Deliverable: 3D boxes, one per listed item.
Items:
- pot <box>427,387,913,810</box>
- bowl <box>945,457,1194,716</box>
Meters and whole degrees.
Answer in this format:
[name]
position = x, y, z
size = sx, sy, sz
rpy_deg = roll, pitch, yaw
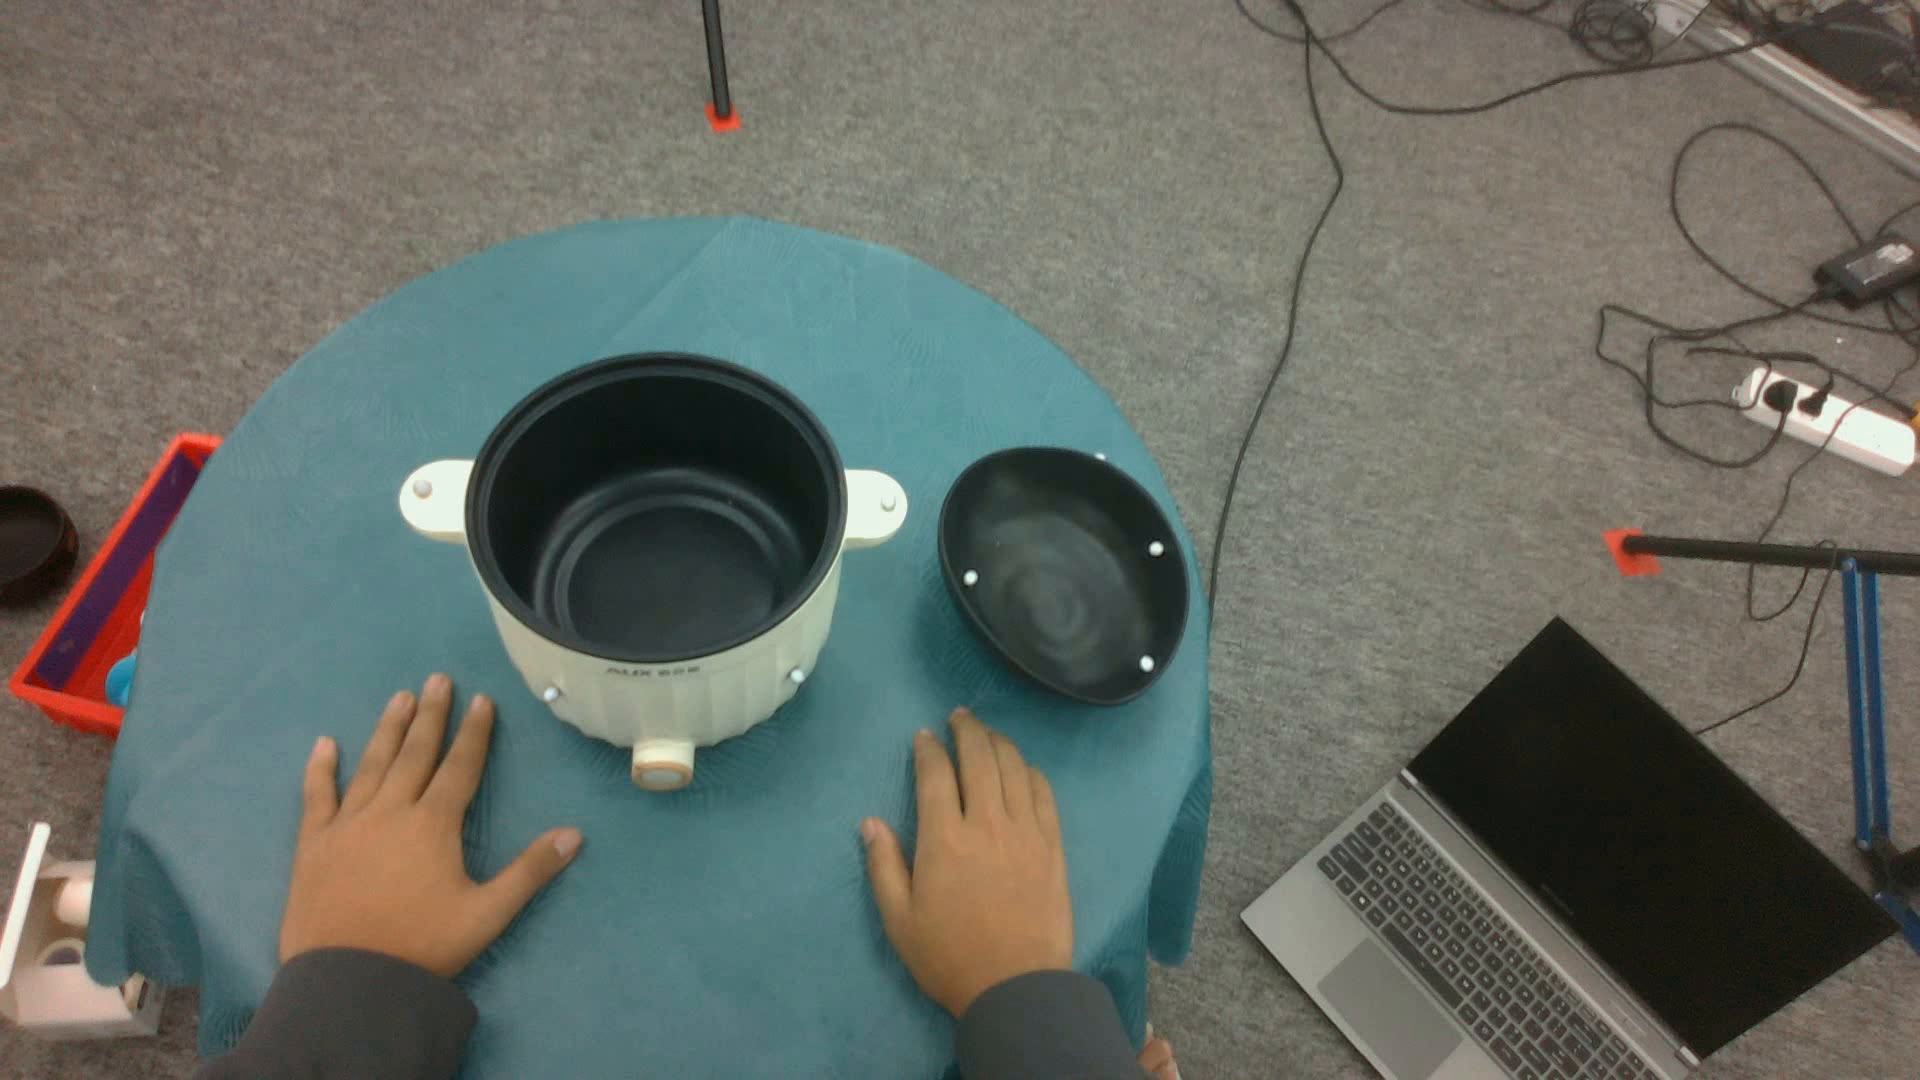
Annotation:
[pot]
position = -0.146, 0.034, 0.740
size = 0.240, 0.142, 0.191
rpy_deg = -3, 53, -7
[bowl]
position = 0.062, 0.033, 0.807
size = 0.138, 0.066, 0.170
rpy_deg = -22, 62, -19
